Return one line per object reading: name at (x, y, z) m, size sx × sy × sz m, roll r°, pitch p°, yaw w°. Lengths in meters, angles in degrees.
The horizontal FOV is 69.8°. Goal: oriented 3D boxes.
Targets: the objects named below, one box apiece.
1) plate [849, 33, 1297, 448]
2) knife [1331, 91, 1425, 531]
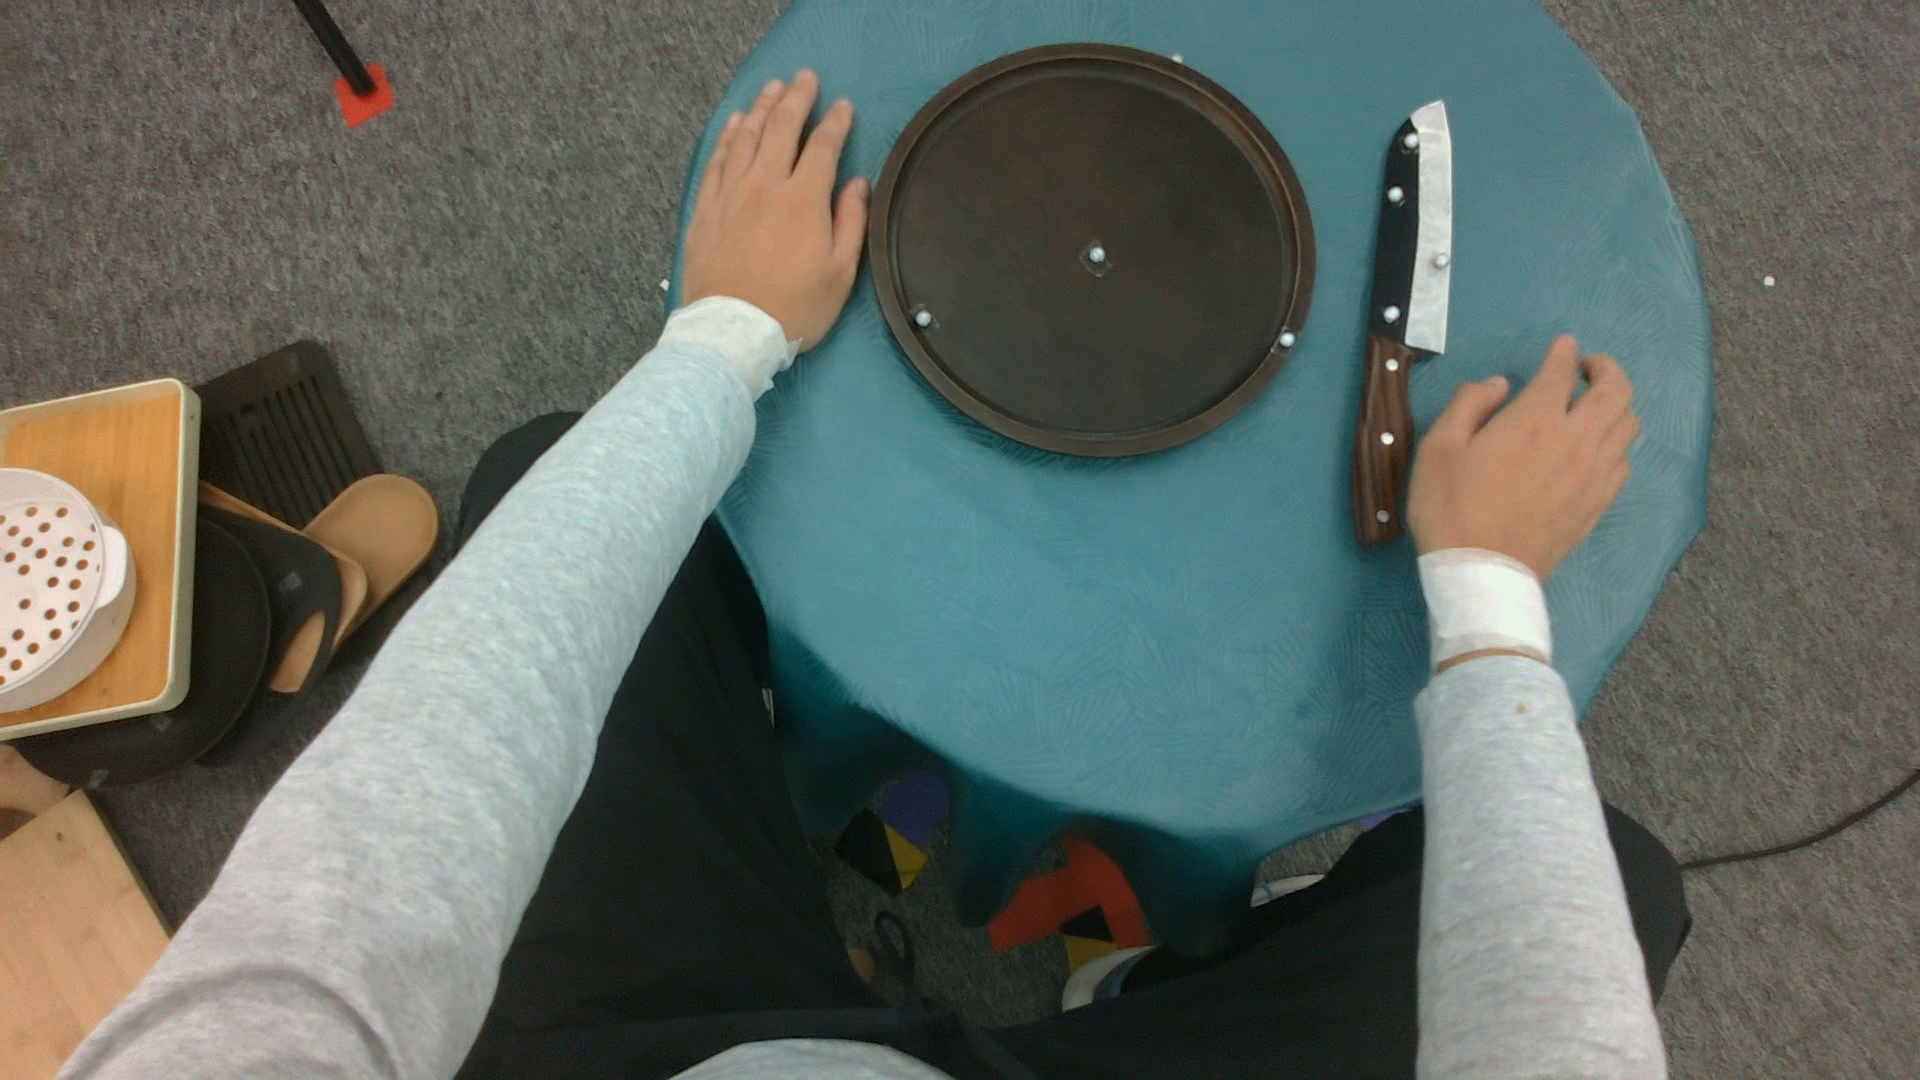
plate at (0.064, -0.172, 0.779) m, size 0.255 × 0.029 × 0.255 m, roll 1°, pitch 76°, yaw -5°
knife at (0.241, -0.138, 0.789) m, size 0.050 × 0.020 × 0.290 m, roll 14°, pitch 72°, yaw -5°
